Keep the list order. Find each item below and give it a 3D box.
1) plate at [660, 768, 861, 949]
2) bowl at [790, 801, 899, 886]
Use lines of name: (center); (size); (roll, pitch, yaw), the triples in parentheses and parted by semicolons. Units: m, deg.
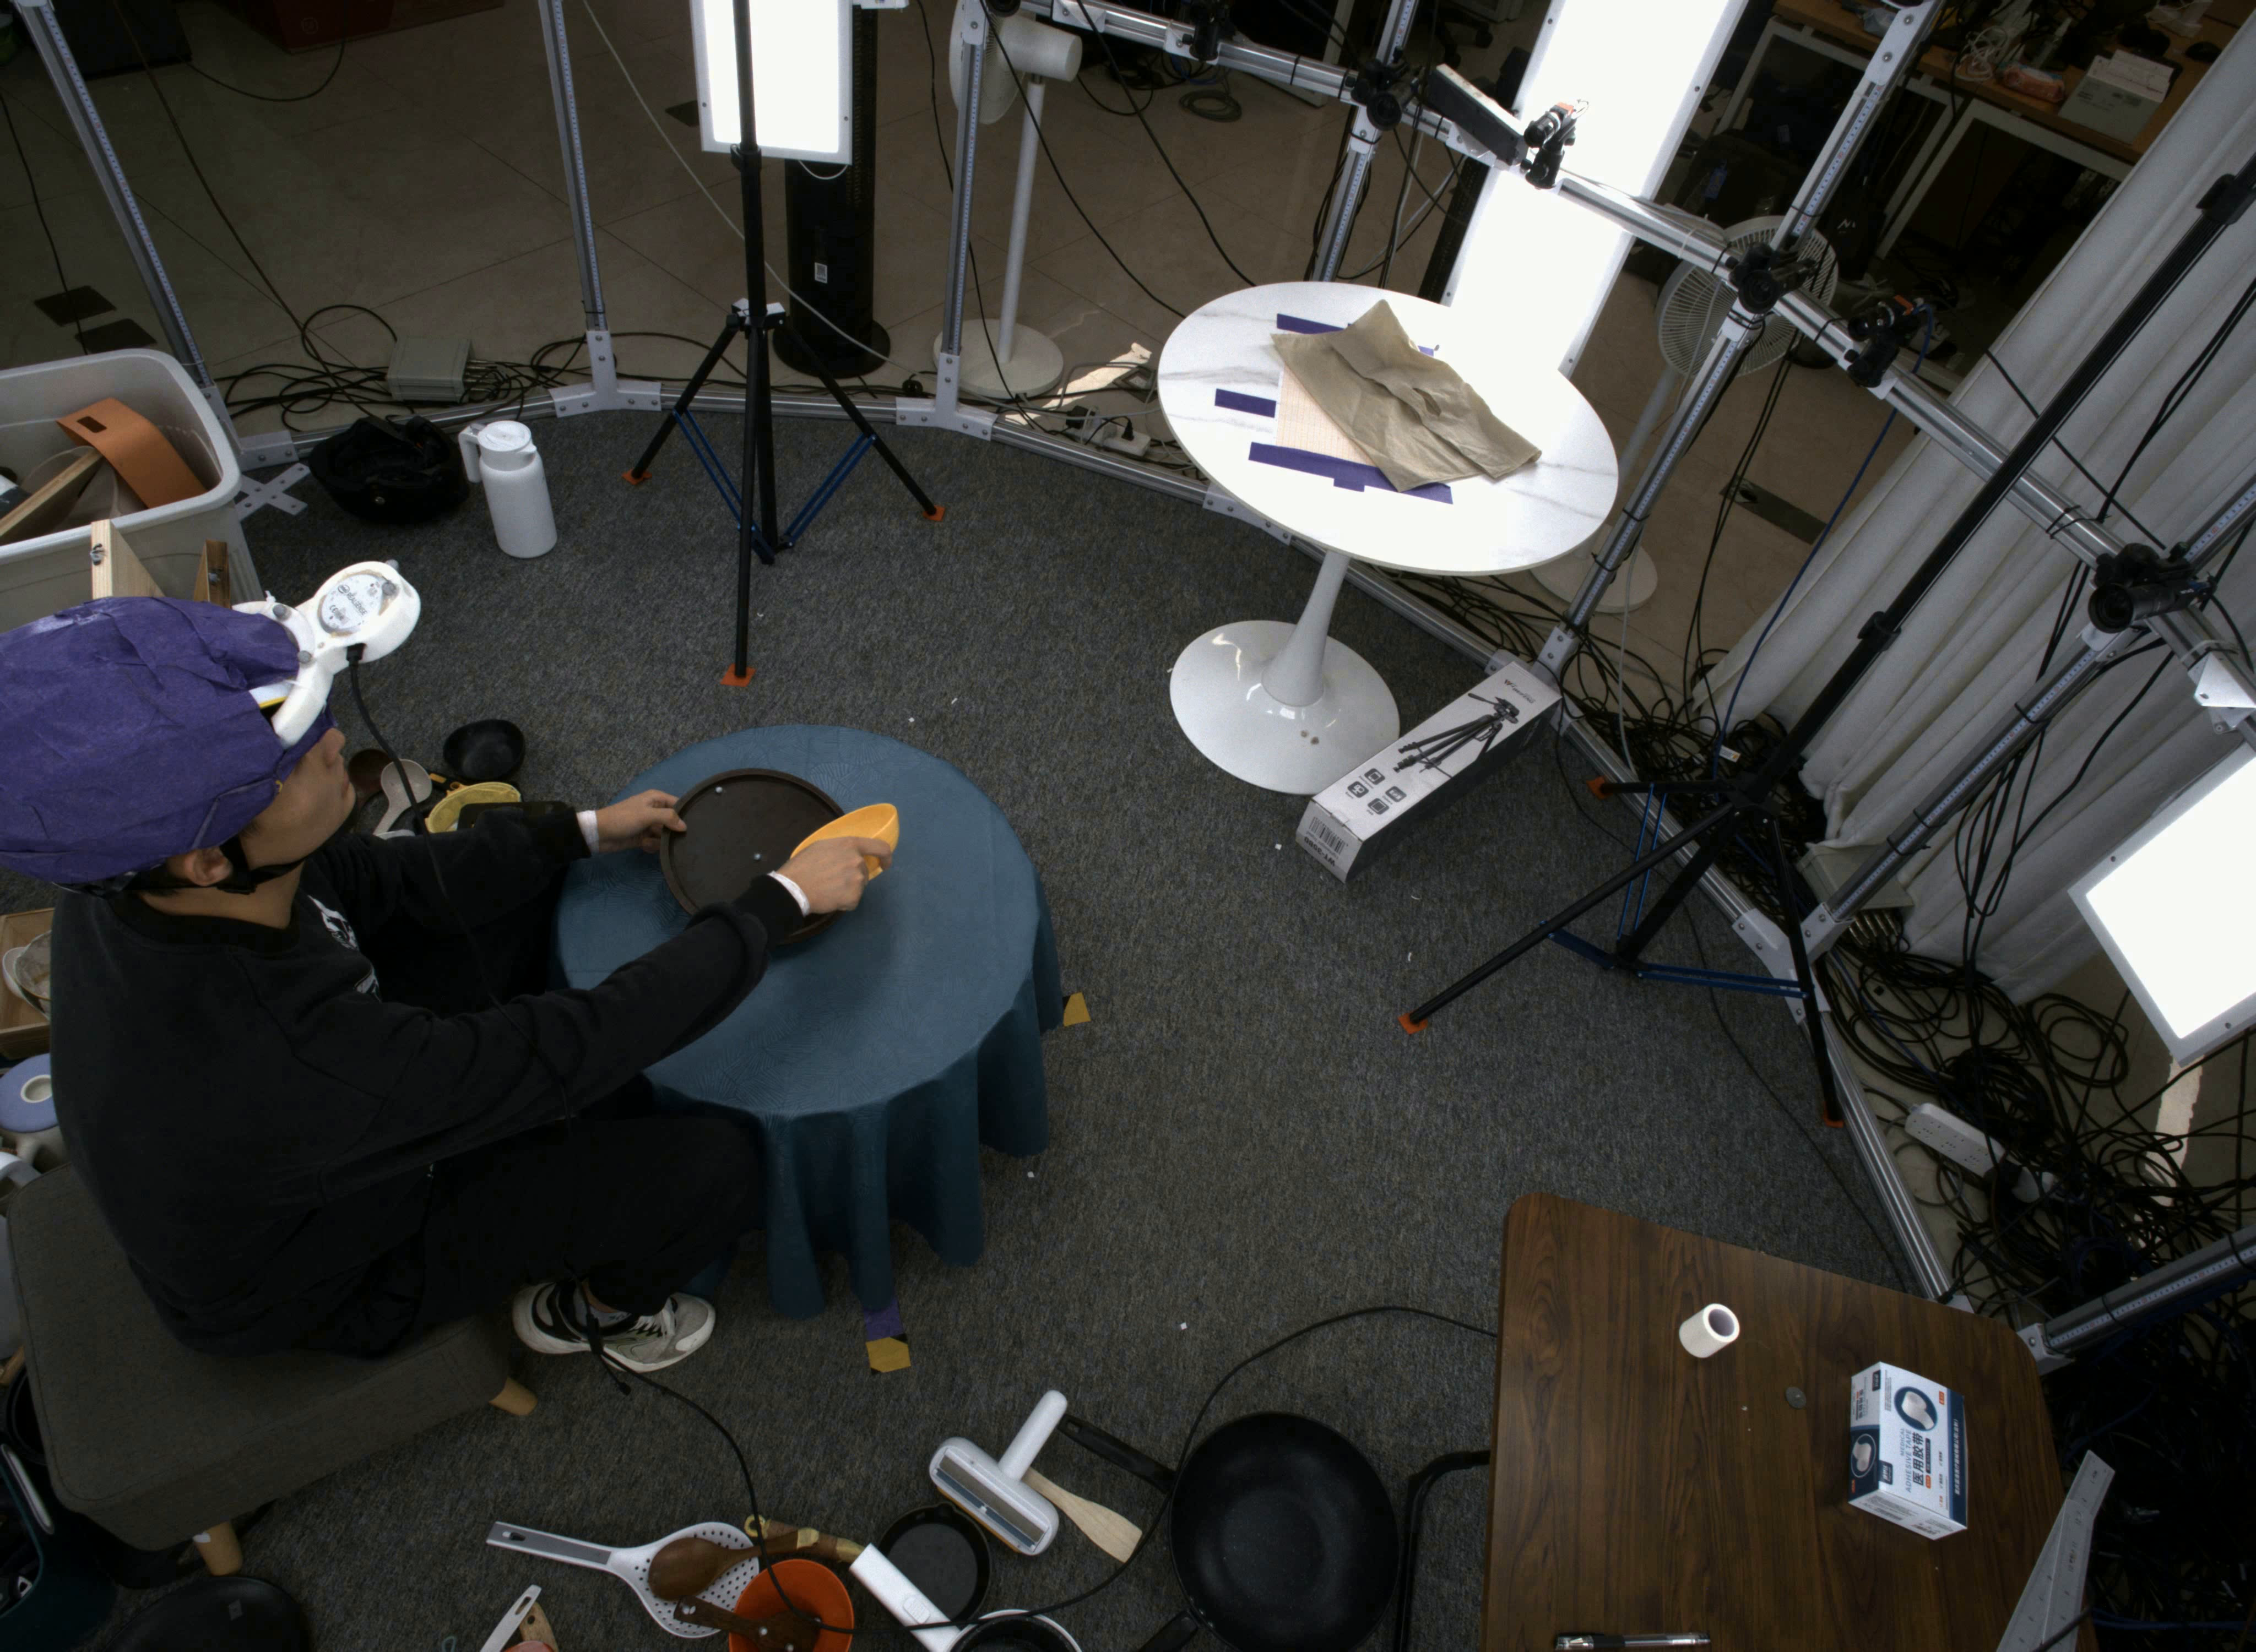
plate: (-0.464, 0.038, 1.640); (0.258, 0.029, 0.251); (14, 59, -22)
bowl: (-0.339, 0.030, 1.604); (0.143, 0.062, 0.143); (-20, 21, 10)
